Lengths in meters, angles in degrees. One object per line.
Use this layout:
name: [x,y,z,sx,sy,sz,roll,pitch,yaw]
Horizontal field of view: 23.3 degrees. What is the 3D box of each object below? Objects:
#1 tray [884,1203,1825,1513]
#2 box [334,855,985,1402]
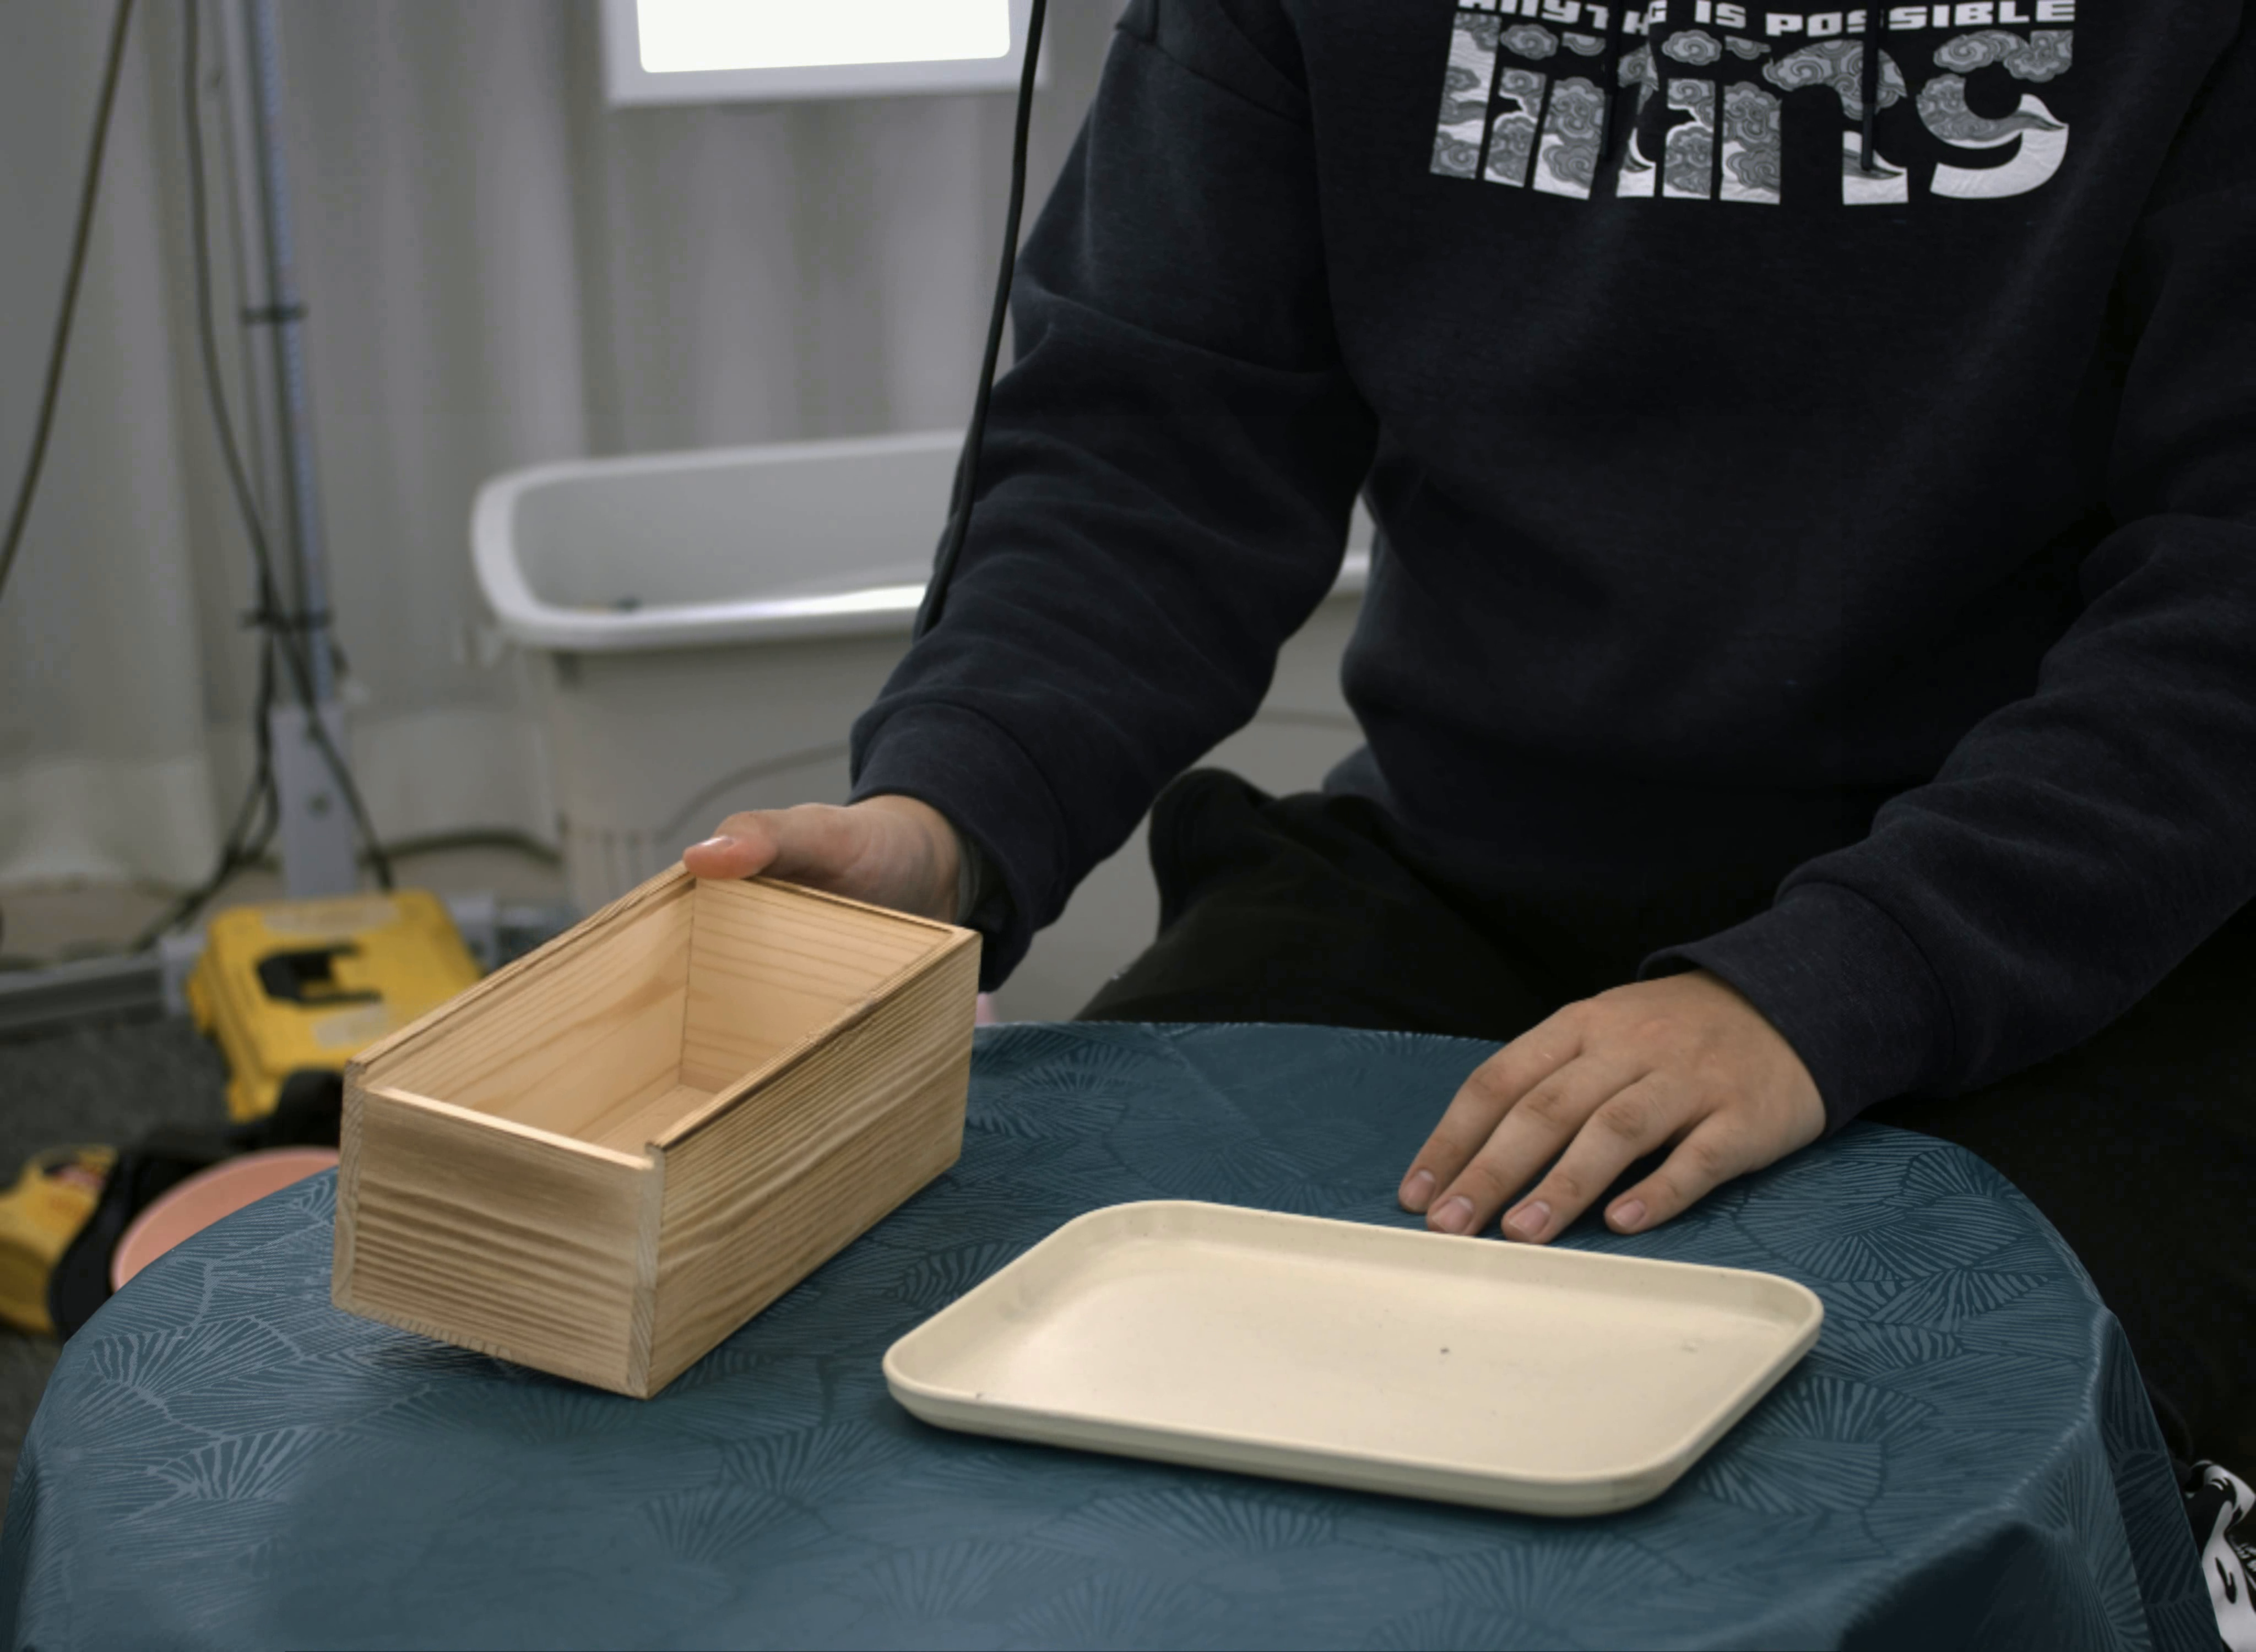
tray: [0.065,0.149,1.542,0.240,0.017,0.171,5,16,26]
box: [-0.138,0.087,1.654,0.108,0.080,0.212,13,21,20]
